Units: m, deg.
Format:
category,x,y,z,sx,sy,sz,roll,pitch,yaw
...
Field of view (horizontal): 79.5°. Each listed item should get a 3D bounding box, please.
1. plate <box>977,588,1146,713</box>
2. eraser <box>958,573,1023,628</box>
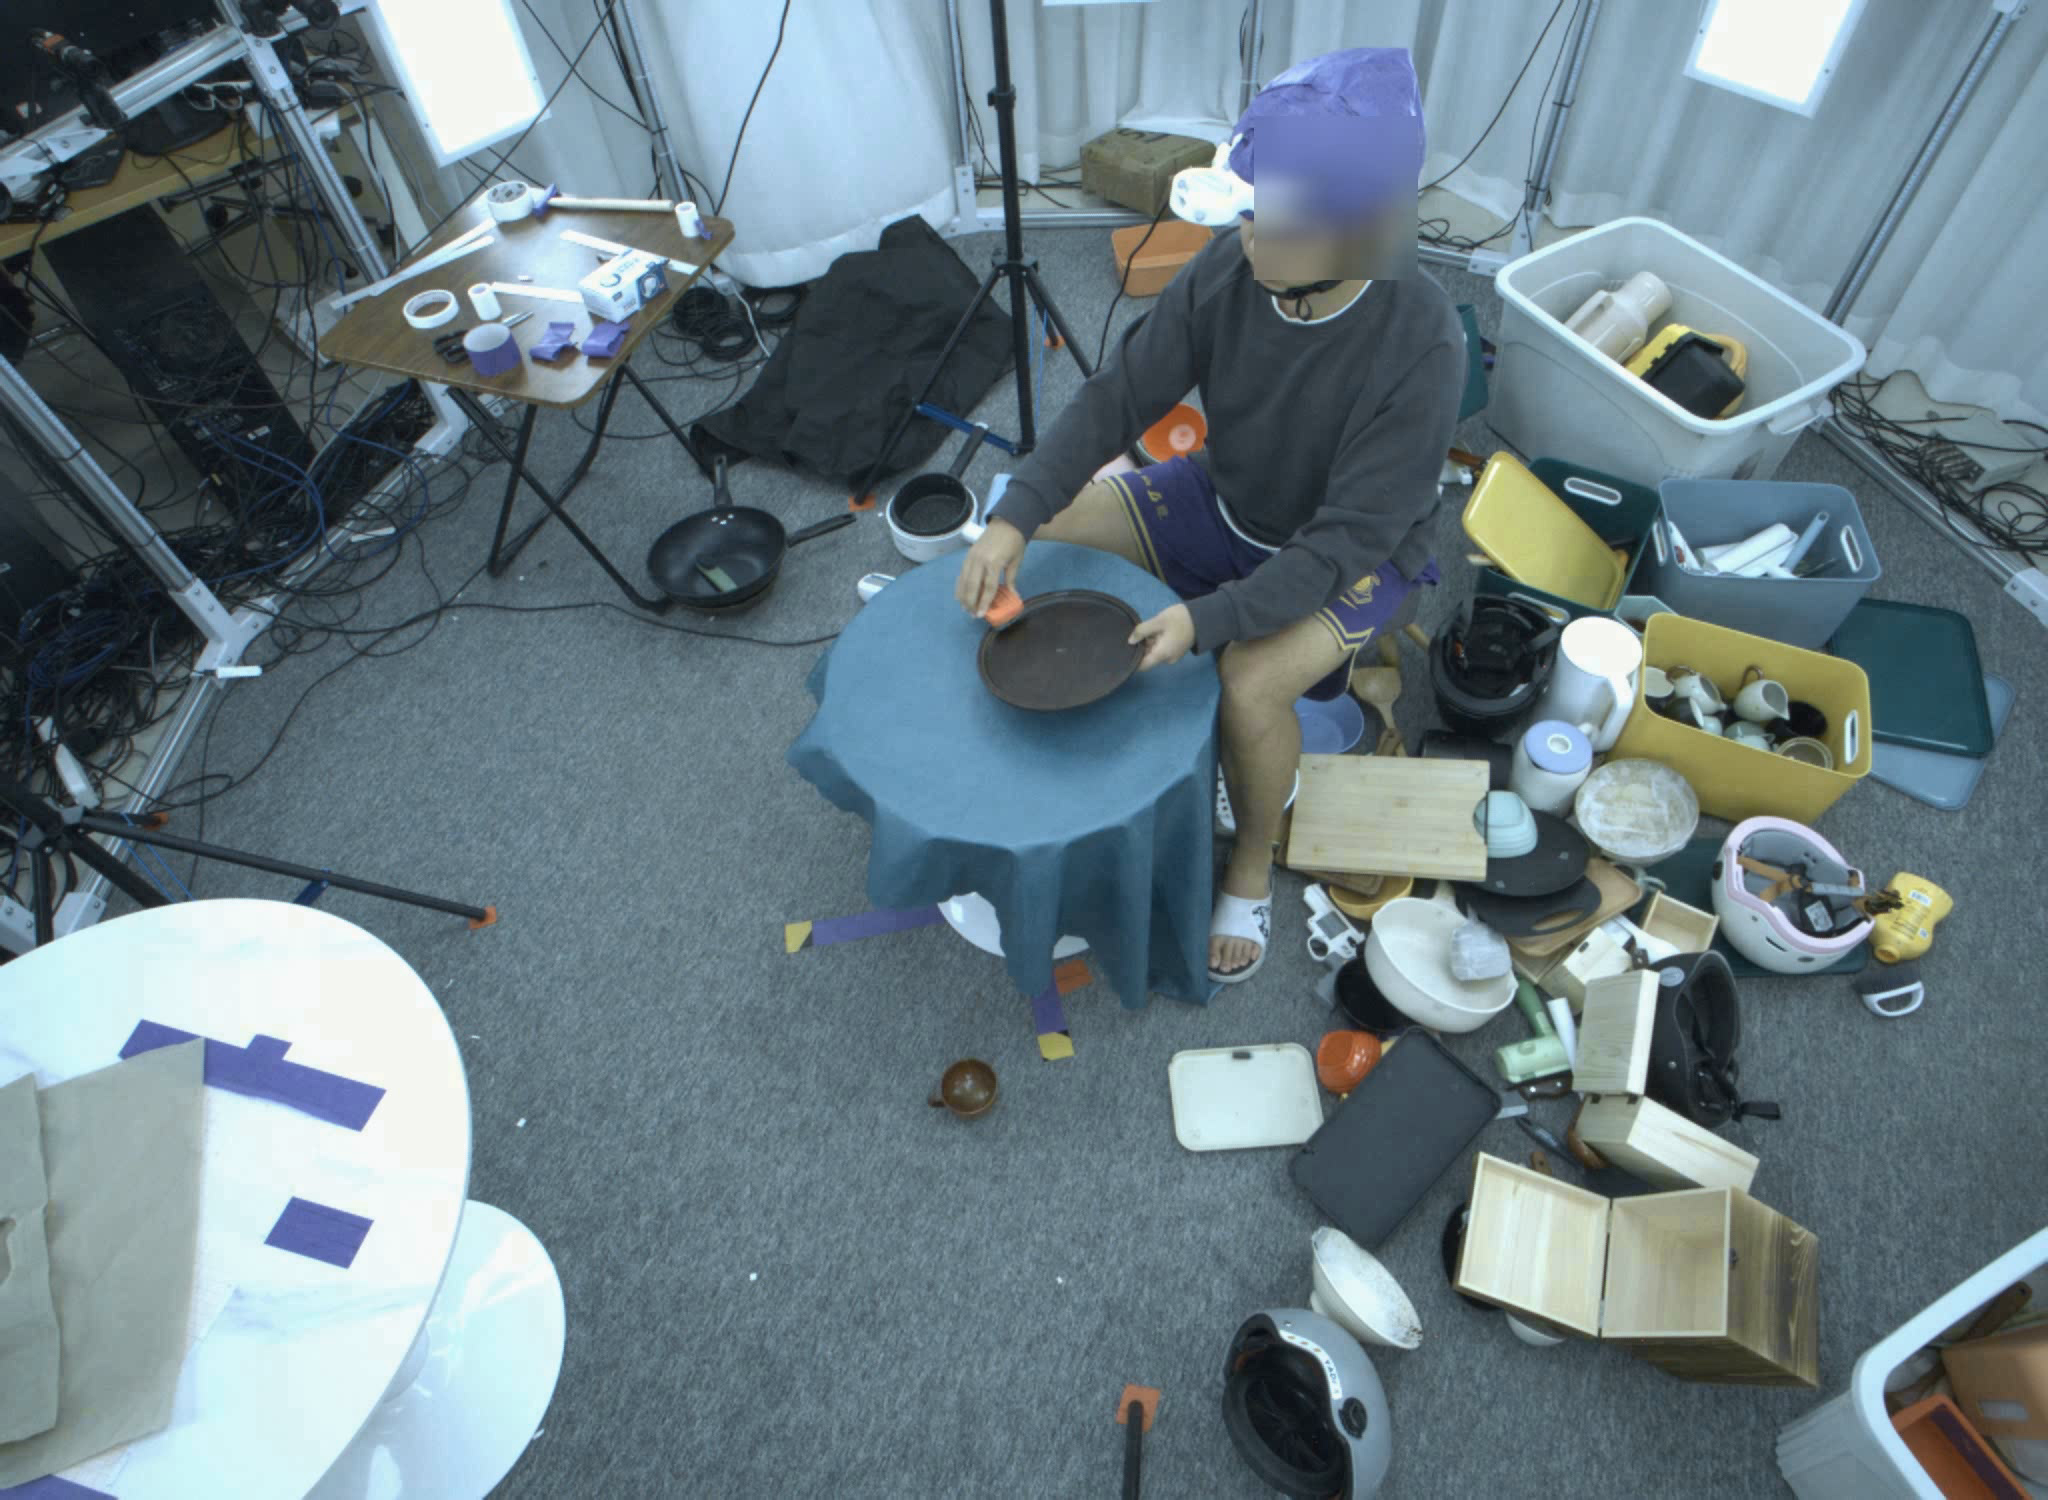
category,x,y,z,sx,sy,sz,roll,pitch,yaw
plate,0.055,-0.148,1.815,0.253,0.029,0.252,-7,47,8
eraser,-0.052,-0.230,1.878,0.059,0.023,0.105,-33,46,-16
